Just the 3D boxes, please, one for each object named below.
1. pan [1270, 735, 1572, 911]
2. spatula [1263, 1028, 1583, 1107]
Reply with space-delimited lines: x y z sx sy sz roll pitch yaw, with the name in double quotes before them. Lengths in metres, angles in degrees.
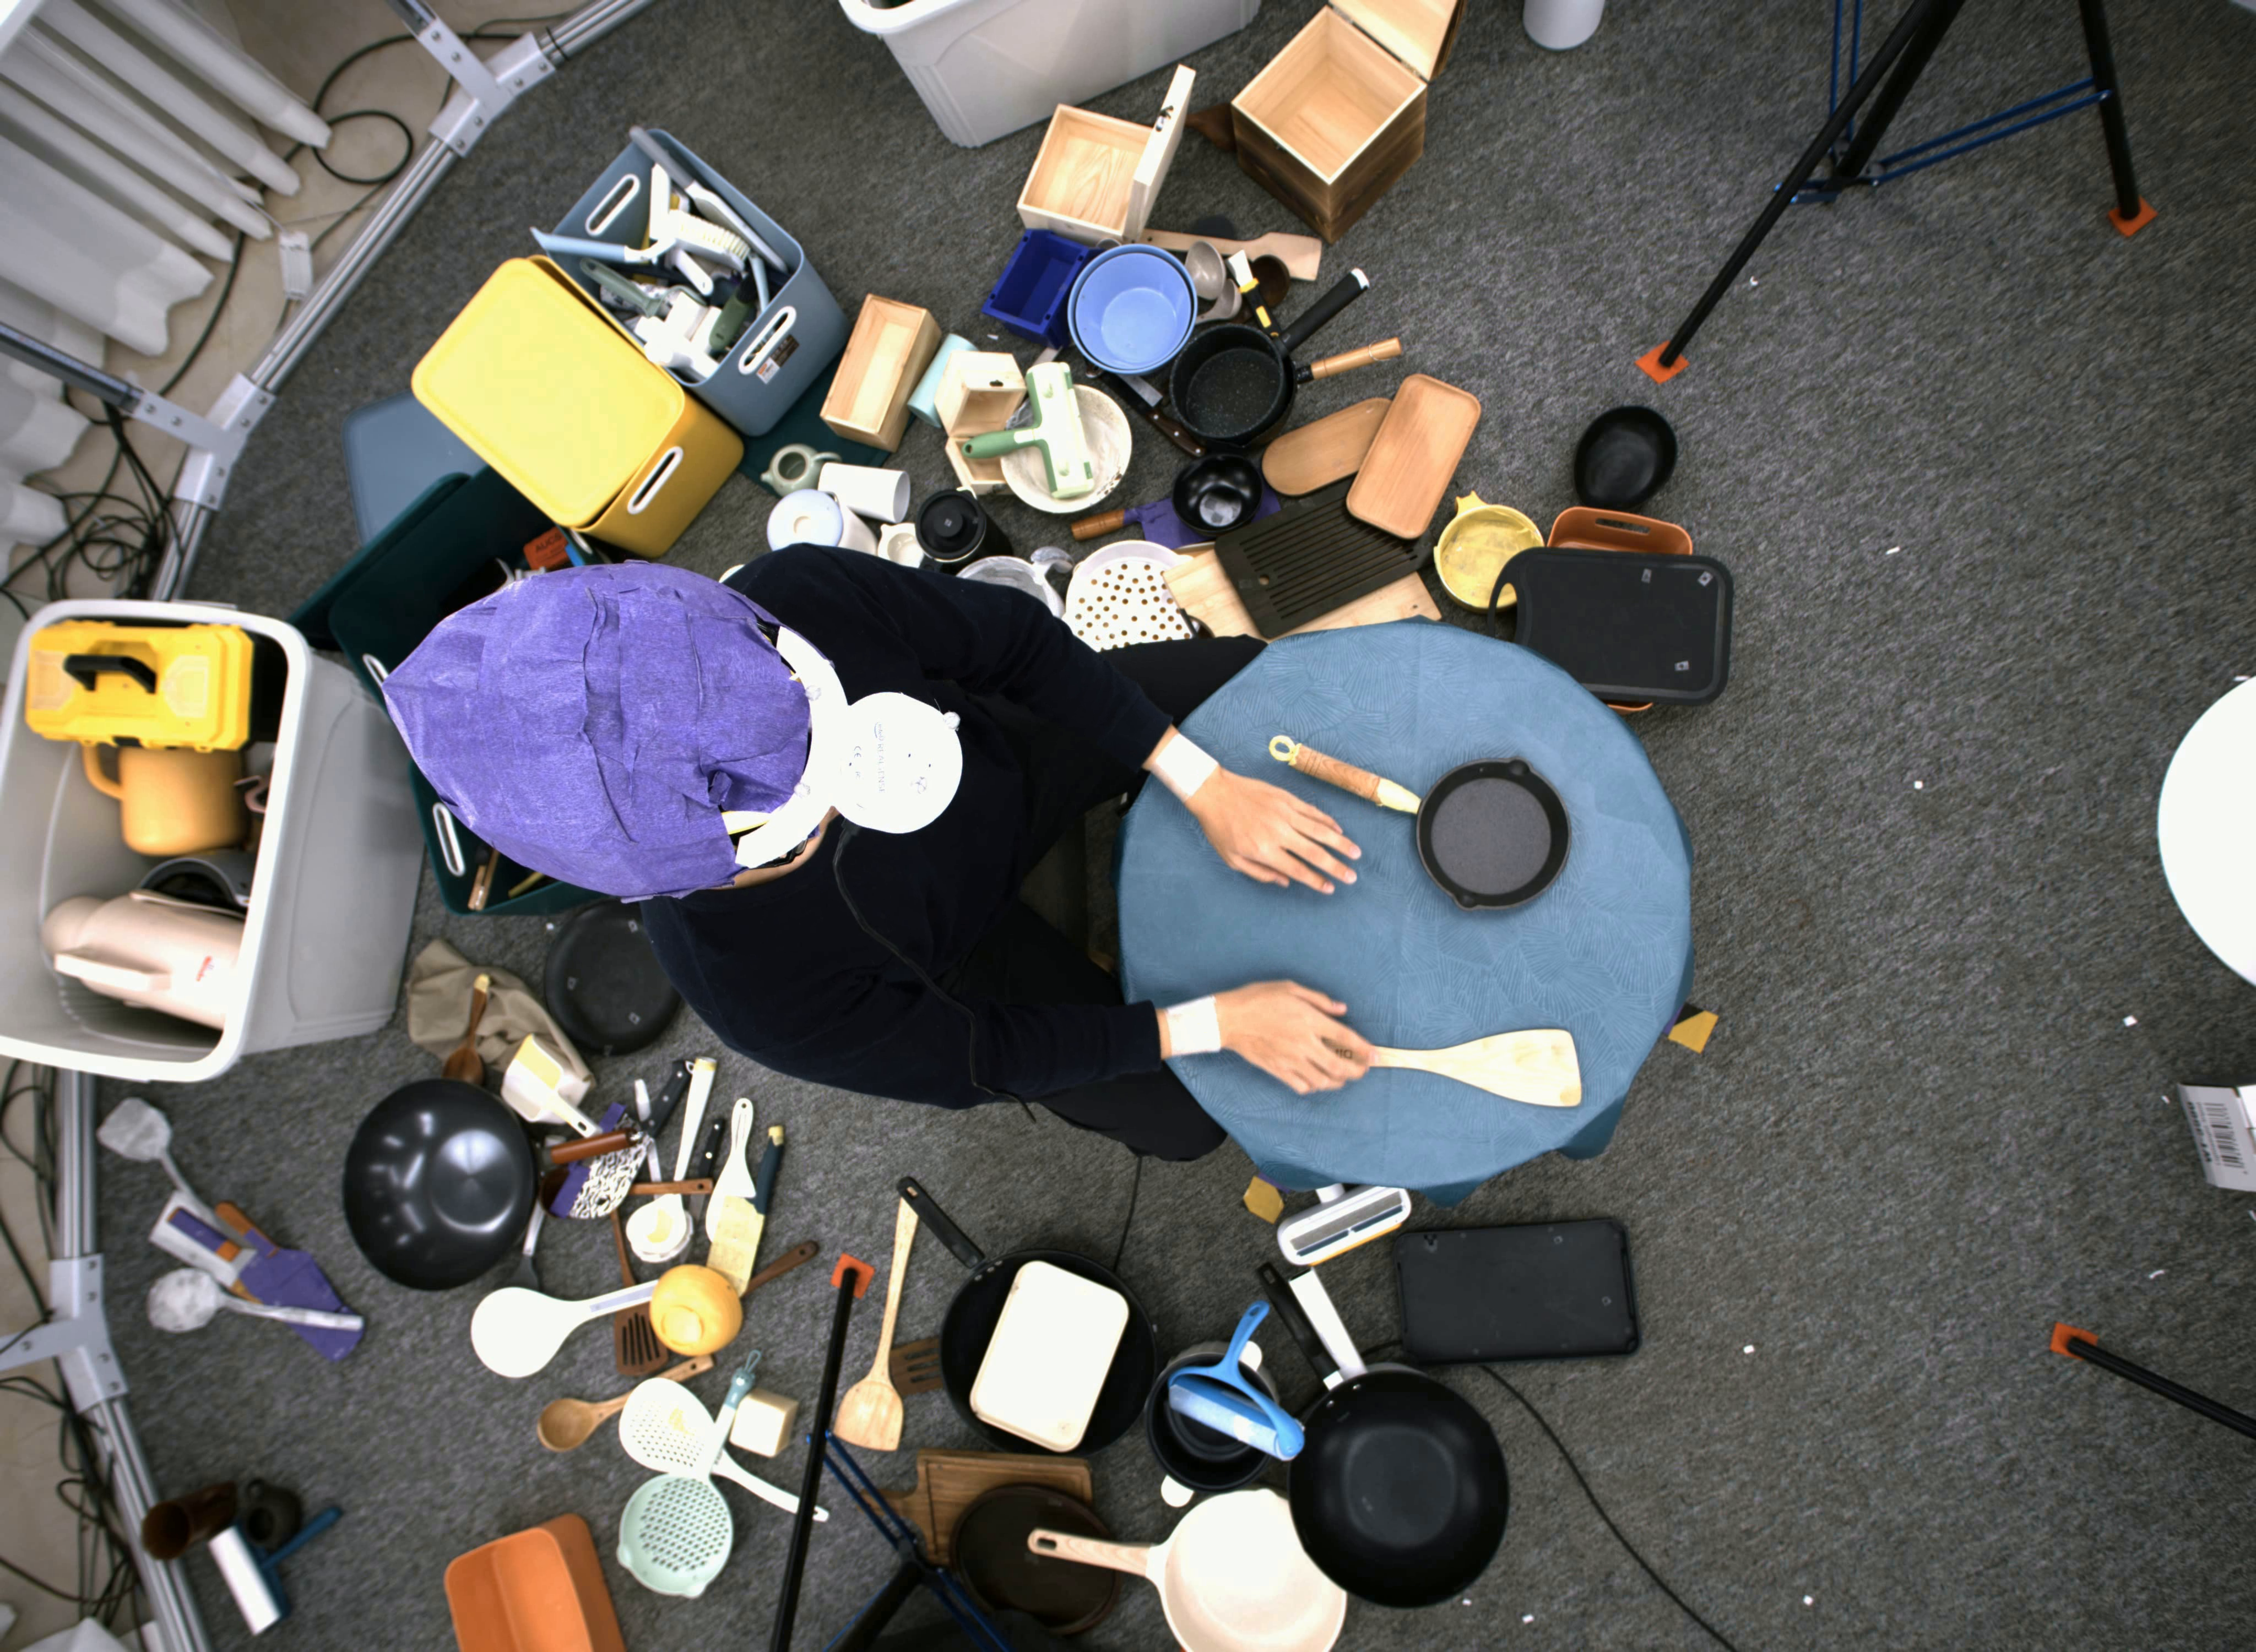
"pan" 0.300 -0.026 1.434 0.324 0.049 0.169 24 91 9
"spatula" 0.304 0.239 1.436 0.329 0.016 0.079 2 86 10
